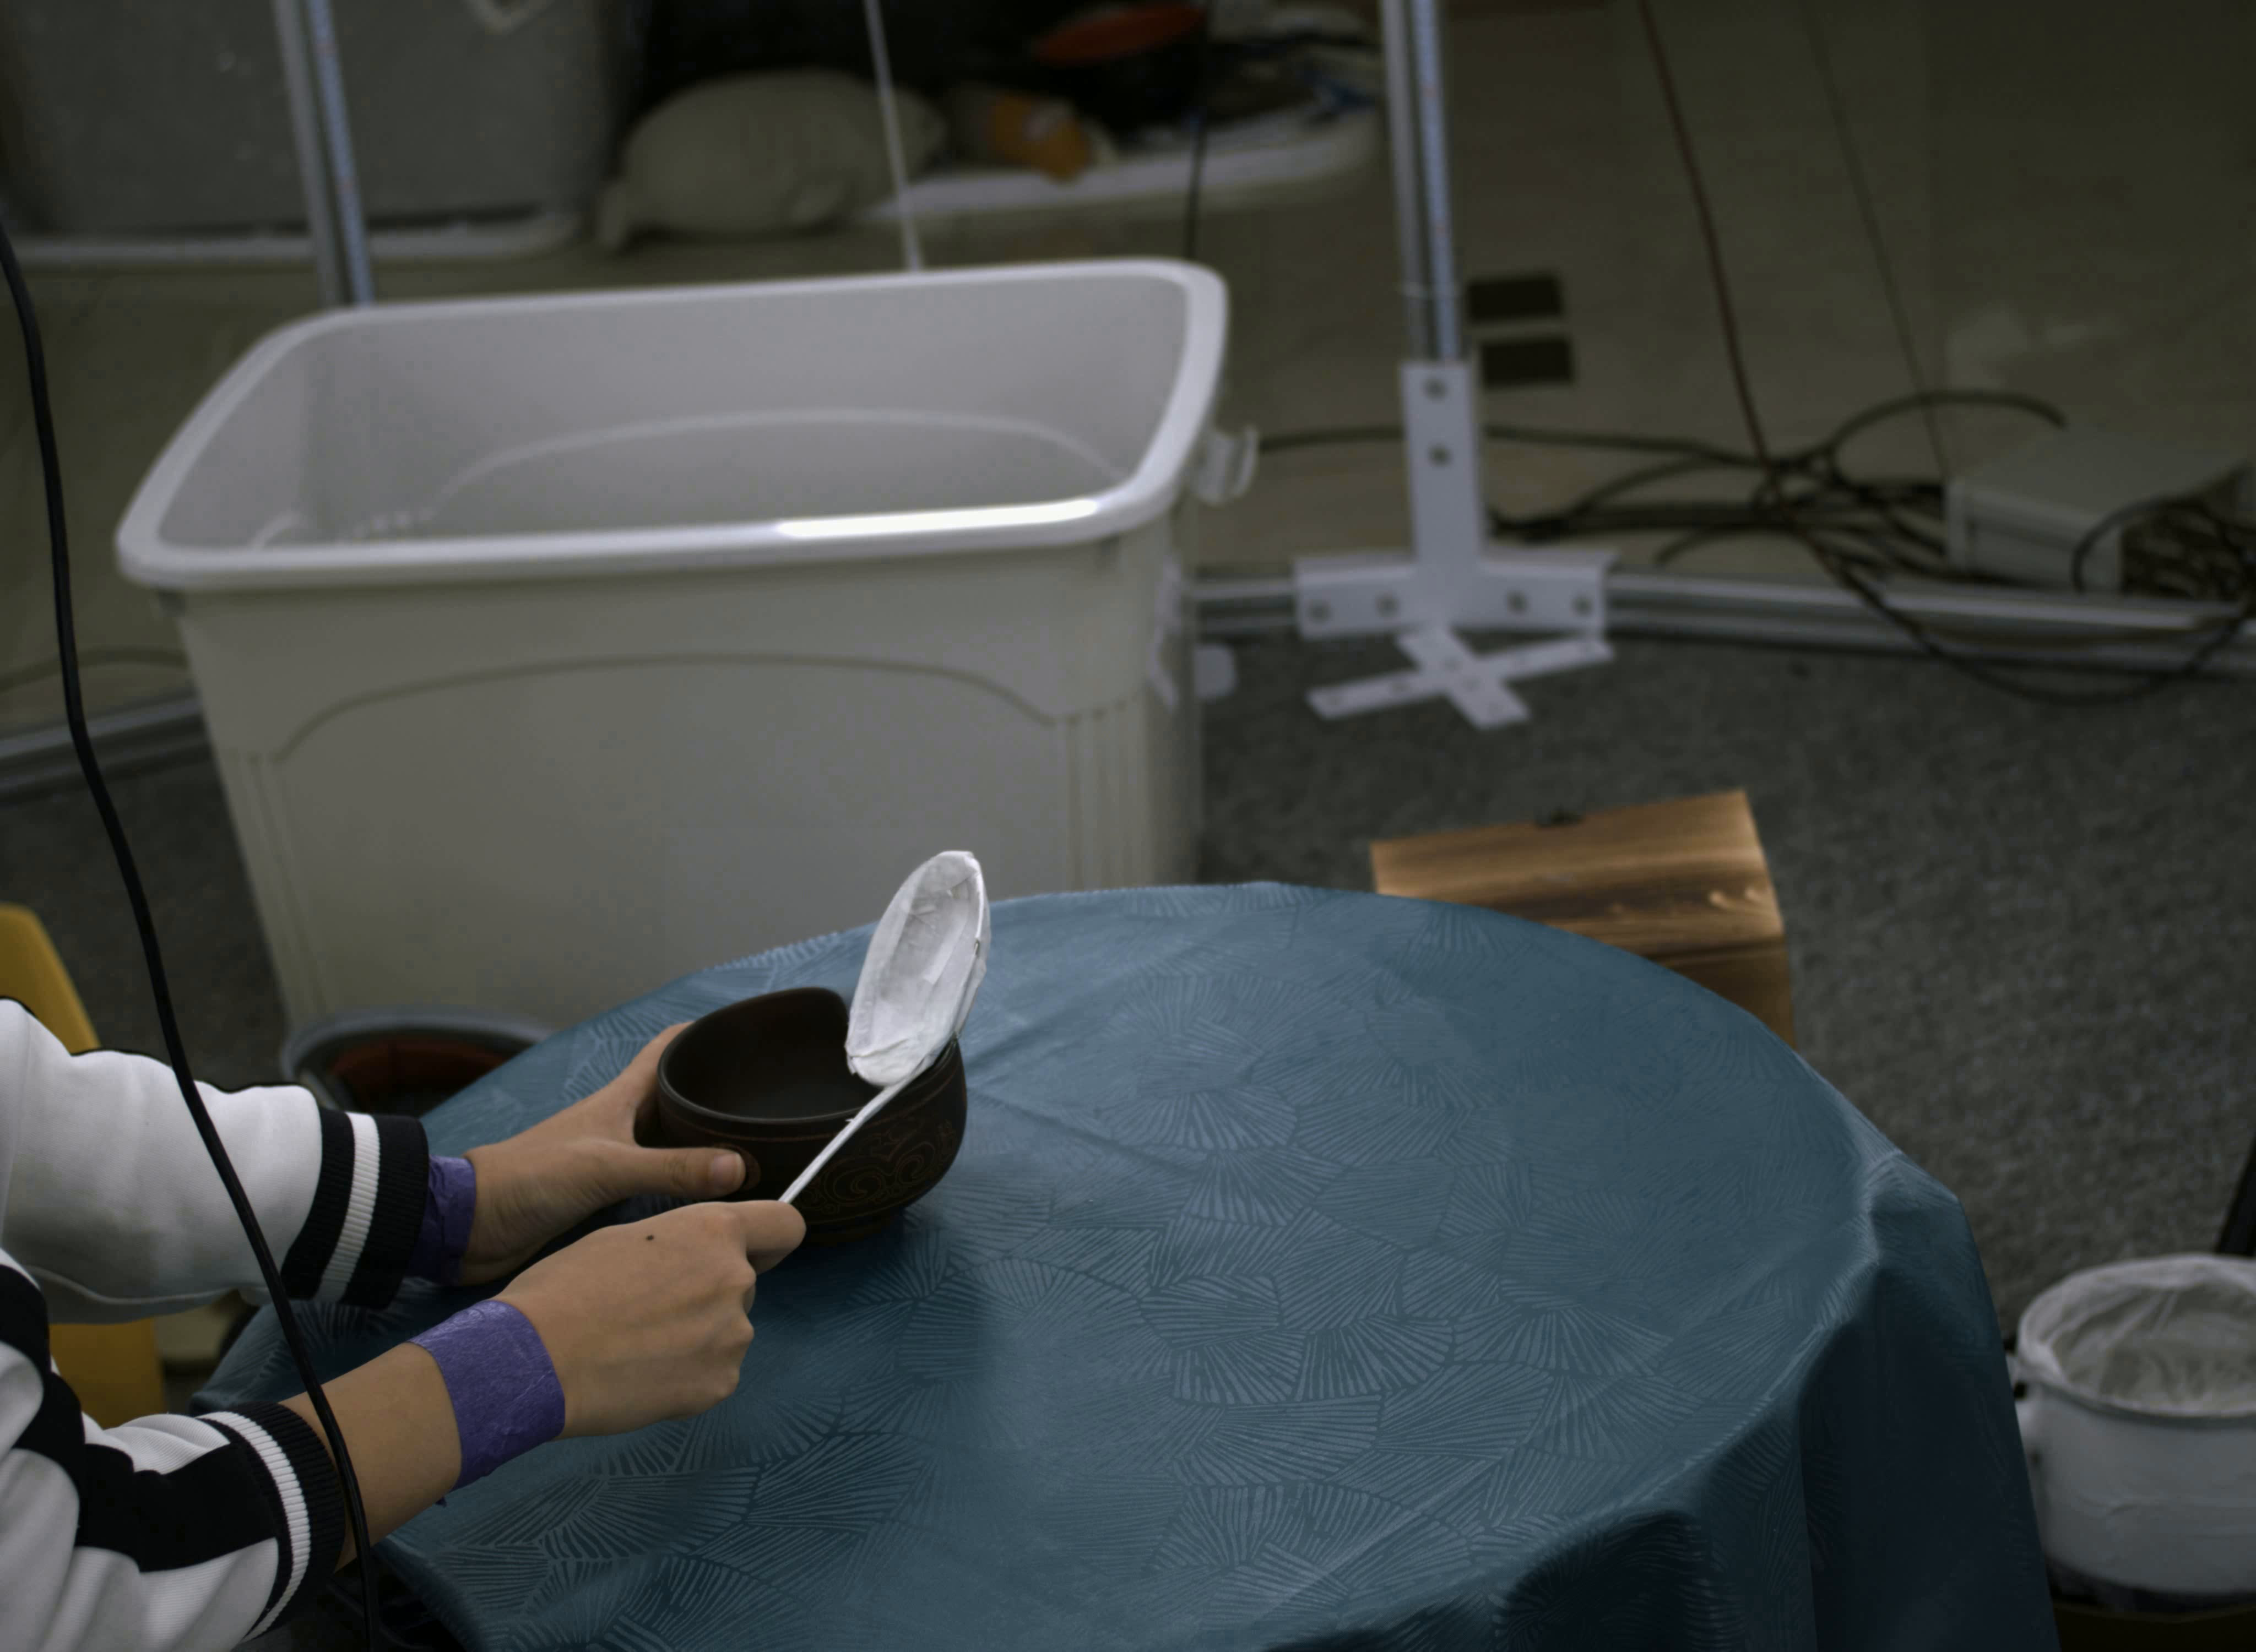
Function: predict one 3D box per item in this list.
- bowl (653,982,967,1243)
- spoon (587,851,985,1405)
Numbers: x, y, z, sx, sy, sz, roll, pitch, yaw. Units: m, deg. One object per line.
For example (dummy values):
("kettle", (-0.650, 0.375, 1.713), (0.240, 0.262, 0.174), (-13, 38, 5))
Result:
("bowl", (-0.118, 0.114, 2.143), (0.118, 0.071, 0.116), (-5, 25, 2))
("spoon", (-0.132, 0.108, 2.052), (0.274, 0.059, 0.102), (-46, 1, -41))
